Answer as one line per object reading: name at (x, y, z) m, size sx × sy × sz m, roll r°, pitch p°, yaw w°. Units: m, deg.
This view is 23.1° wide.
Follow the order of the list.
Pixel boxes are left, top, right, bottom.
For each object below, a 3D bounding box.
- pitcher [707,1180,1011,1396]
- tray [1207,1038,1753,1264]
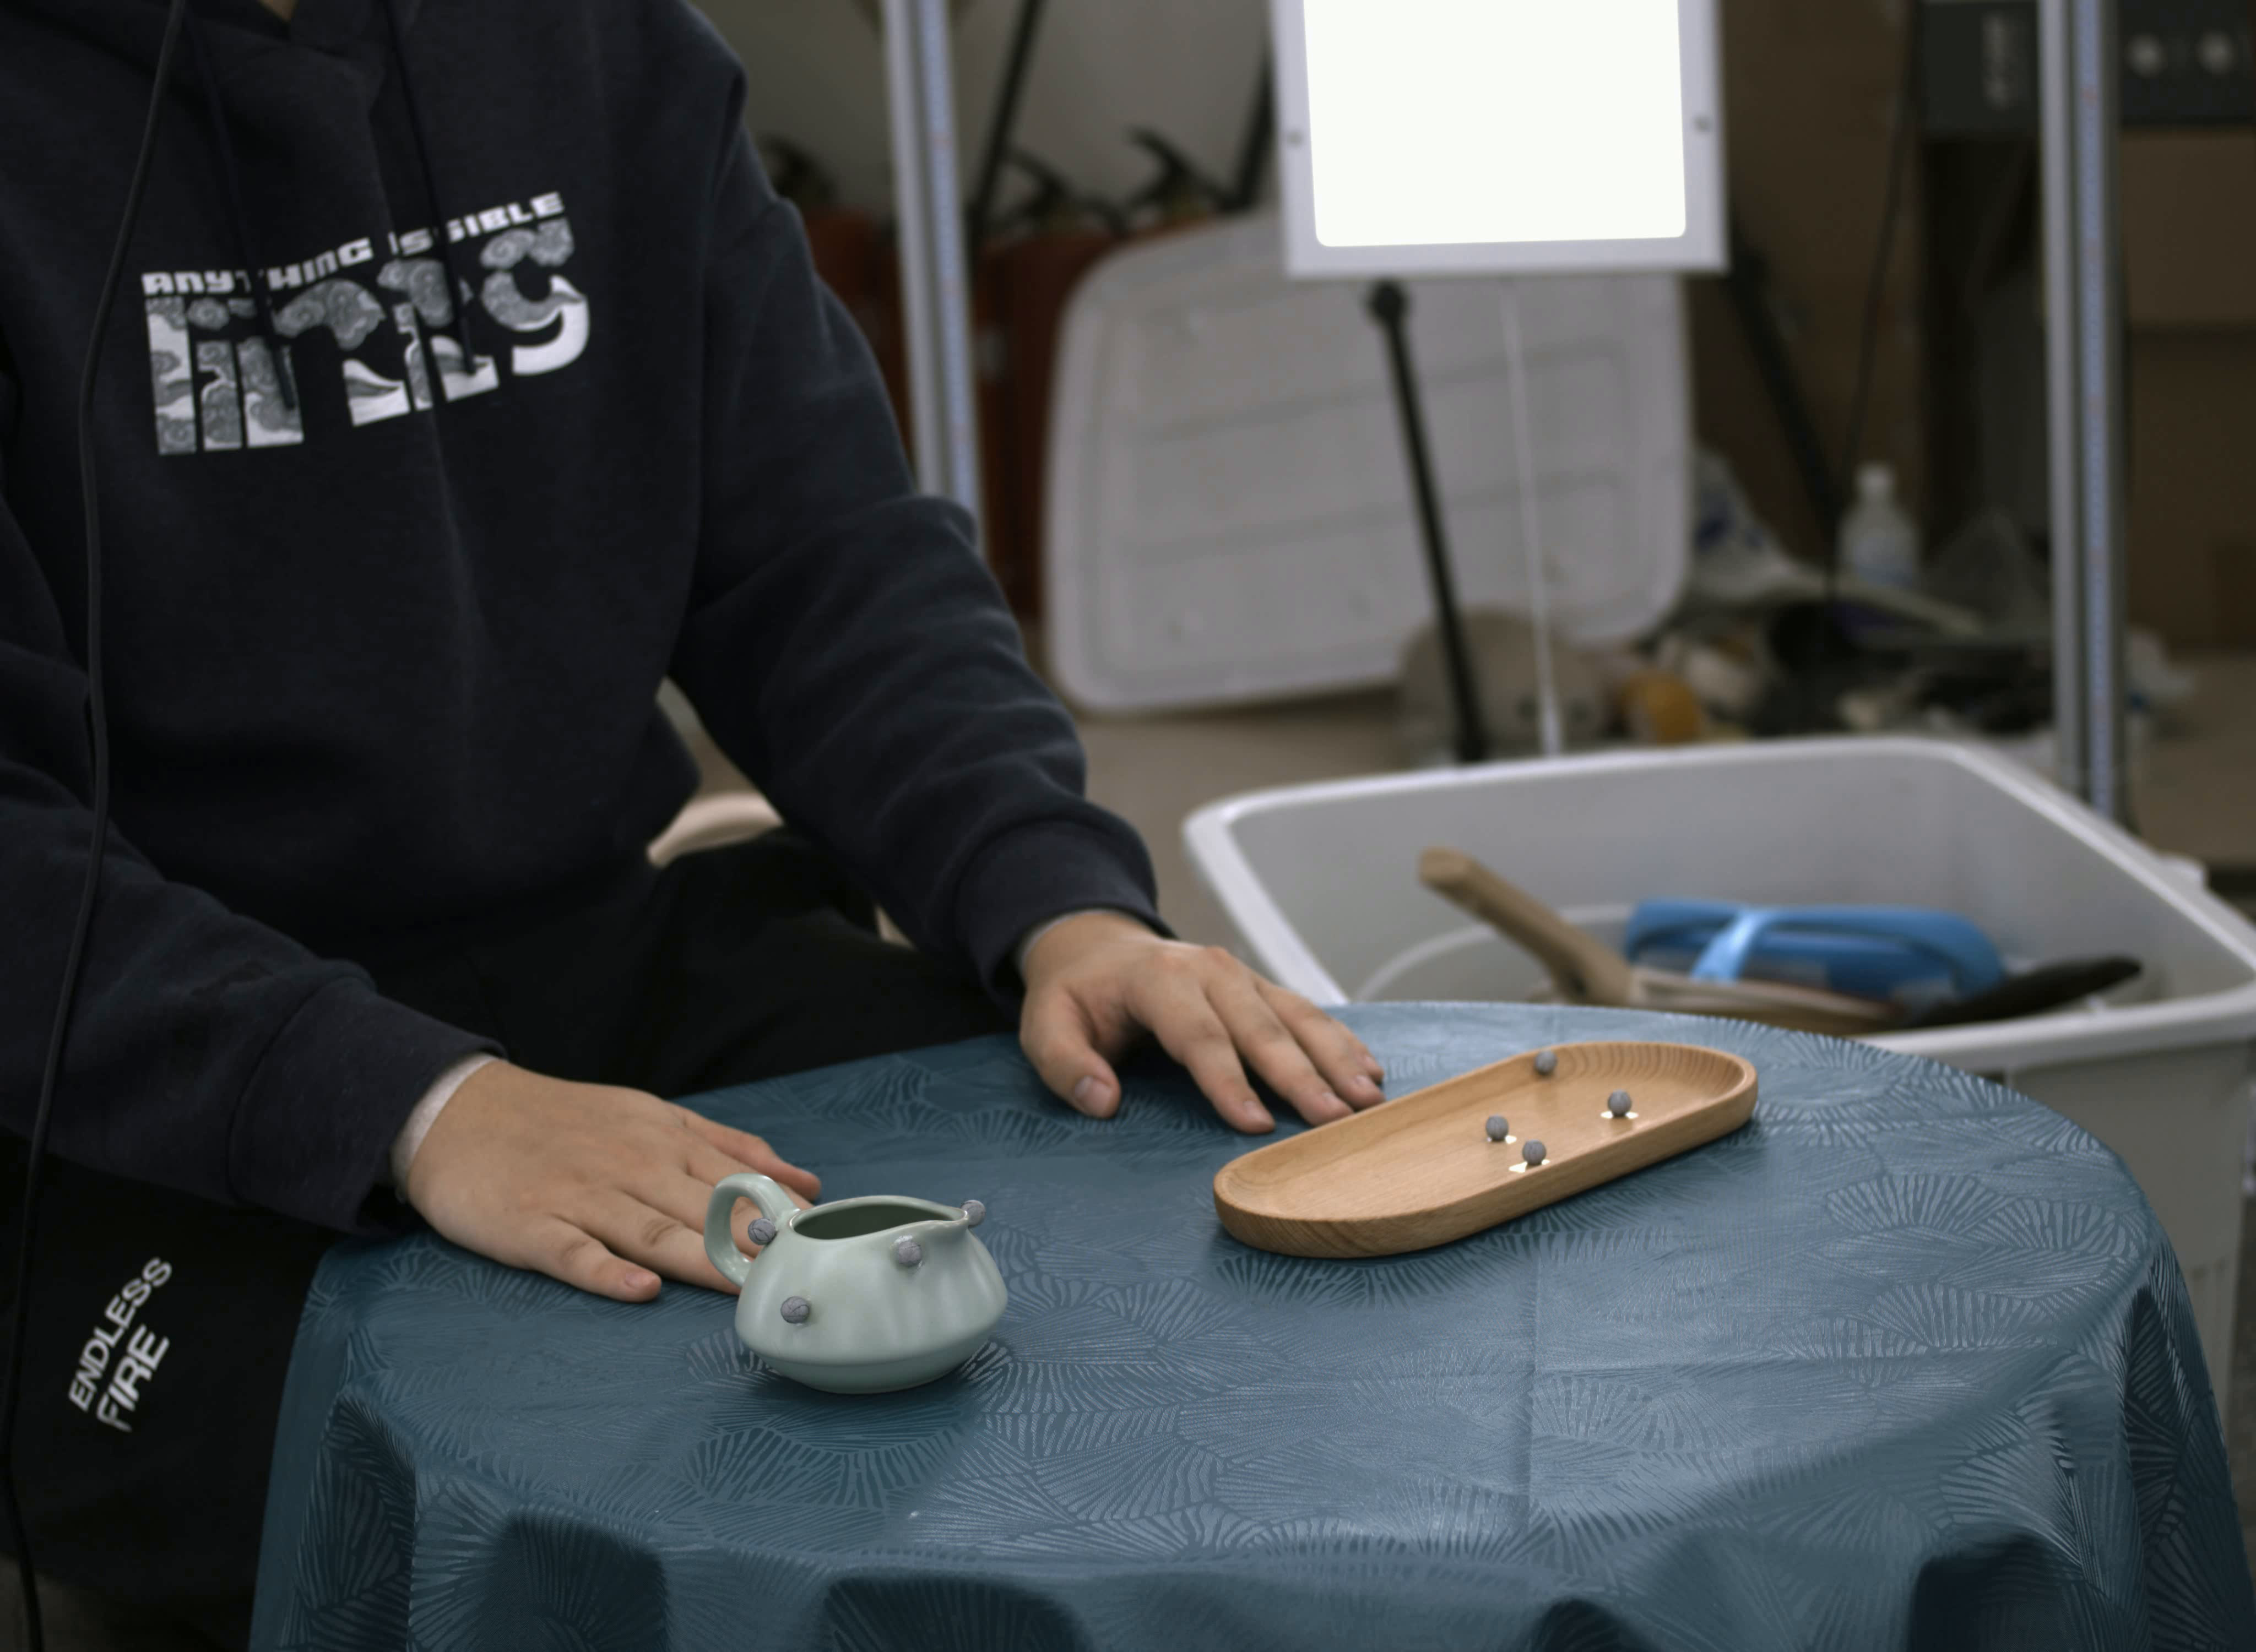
pitcher at (-0.090, 0.144, 1.739) m, size 0.110 × 0.060 × 0.084 m, roll 3°, pitch 14°, yaw 37°
tray at (0.124, 0.110, 1.889) m, size 0.225 × 0.020 × 0.104 m, roll -20°, pitch 18°, yaw -40°
